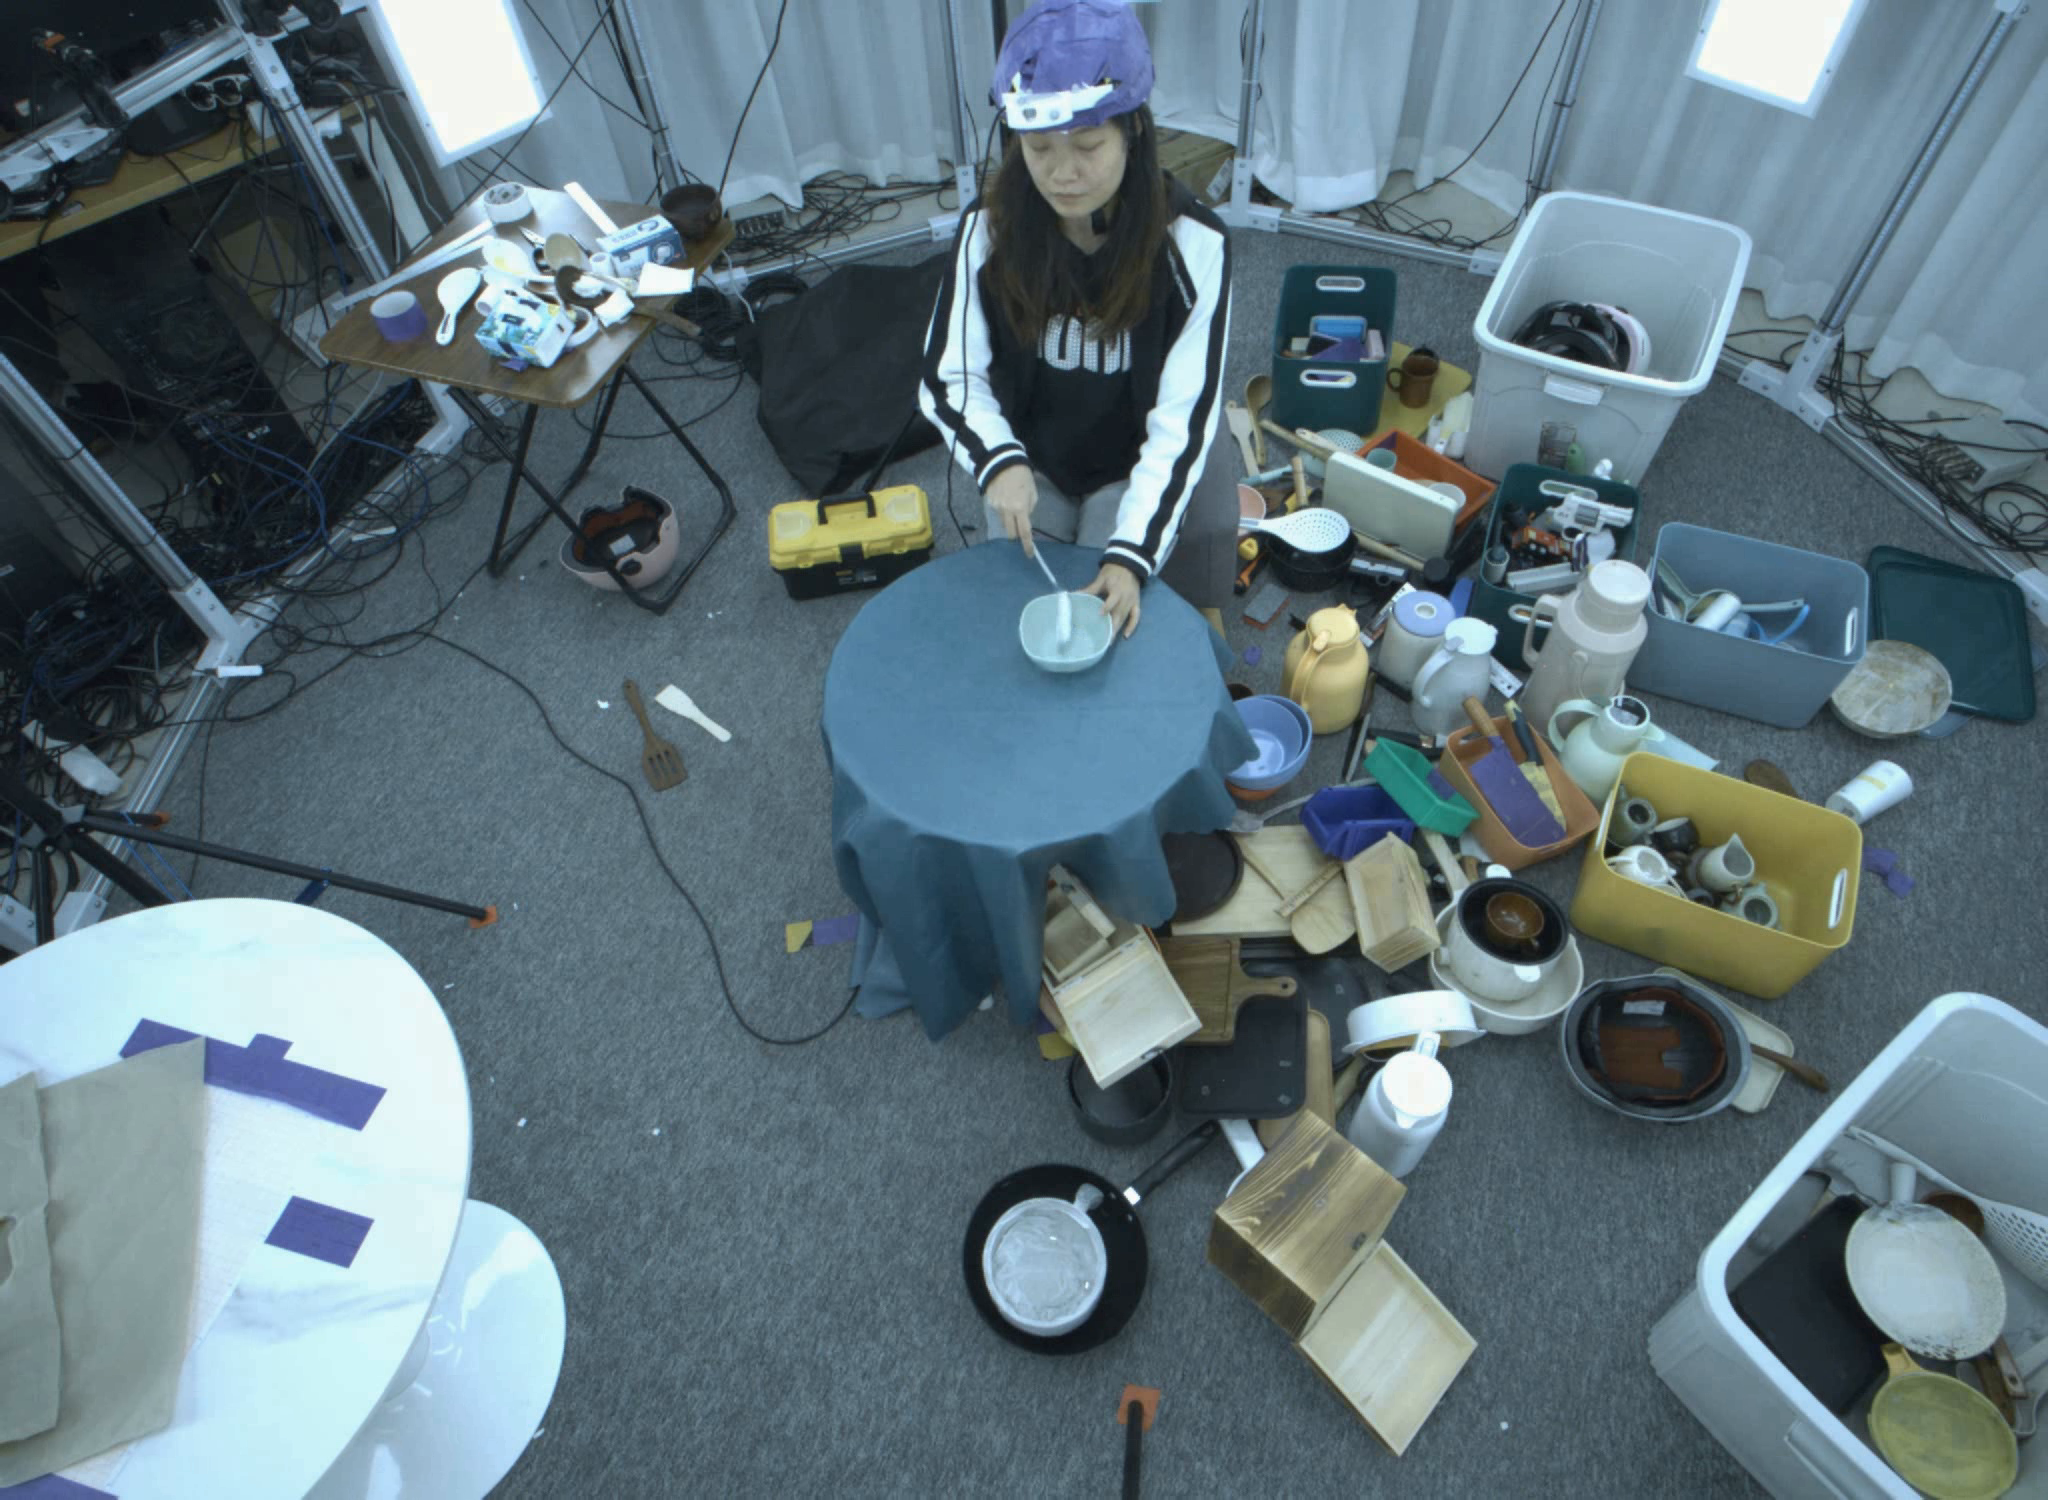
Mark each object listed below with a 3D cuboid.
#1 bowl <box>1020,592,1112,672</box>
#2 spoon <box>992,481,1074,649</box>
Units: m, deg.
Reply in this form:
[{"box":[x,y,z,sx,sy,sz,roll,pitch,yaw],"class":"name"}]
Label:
[{"box":[0.065,-0.170,1.873,0.151,0.059,0.150,-1,55,2],"class":"bowl"},{"box":[0.004,-0.284,1.859,0.060,0.100,0.277,-32,88,-14],"class":"spoon"}]
